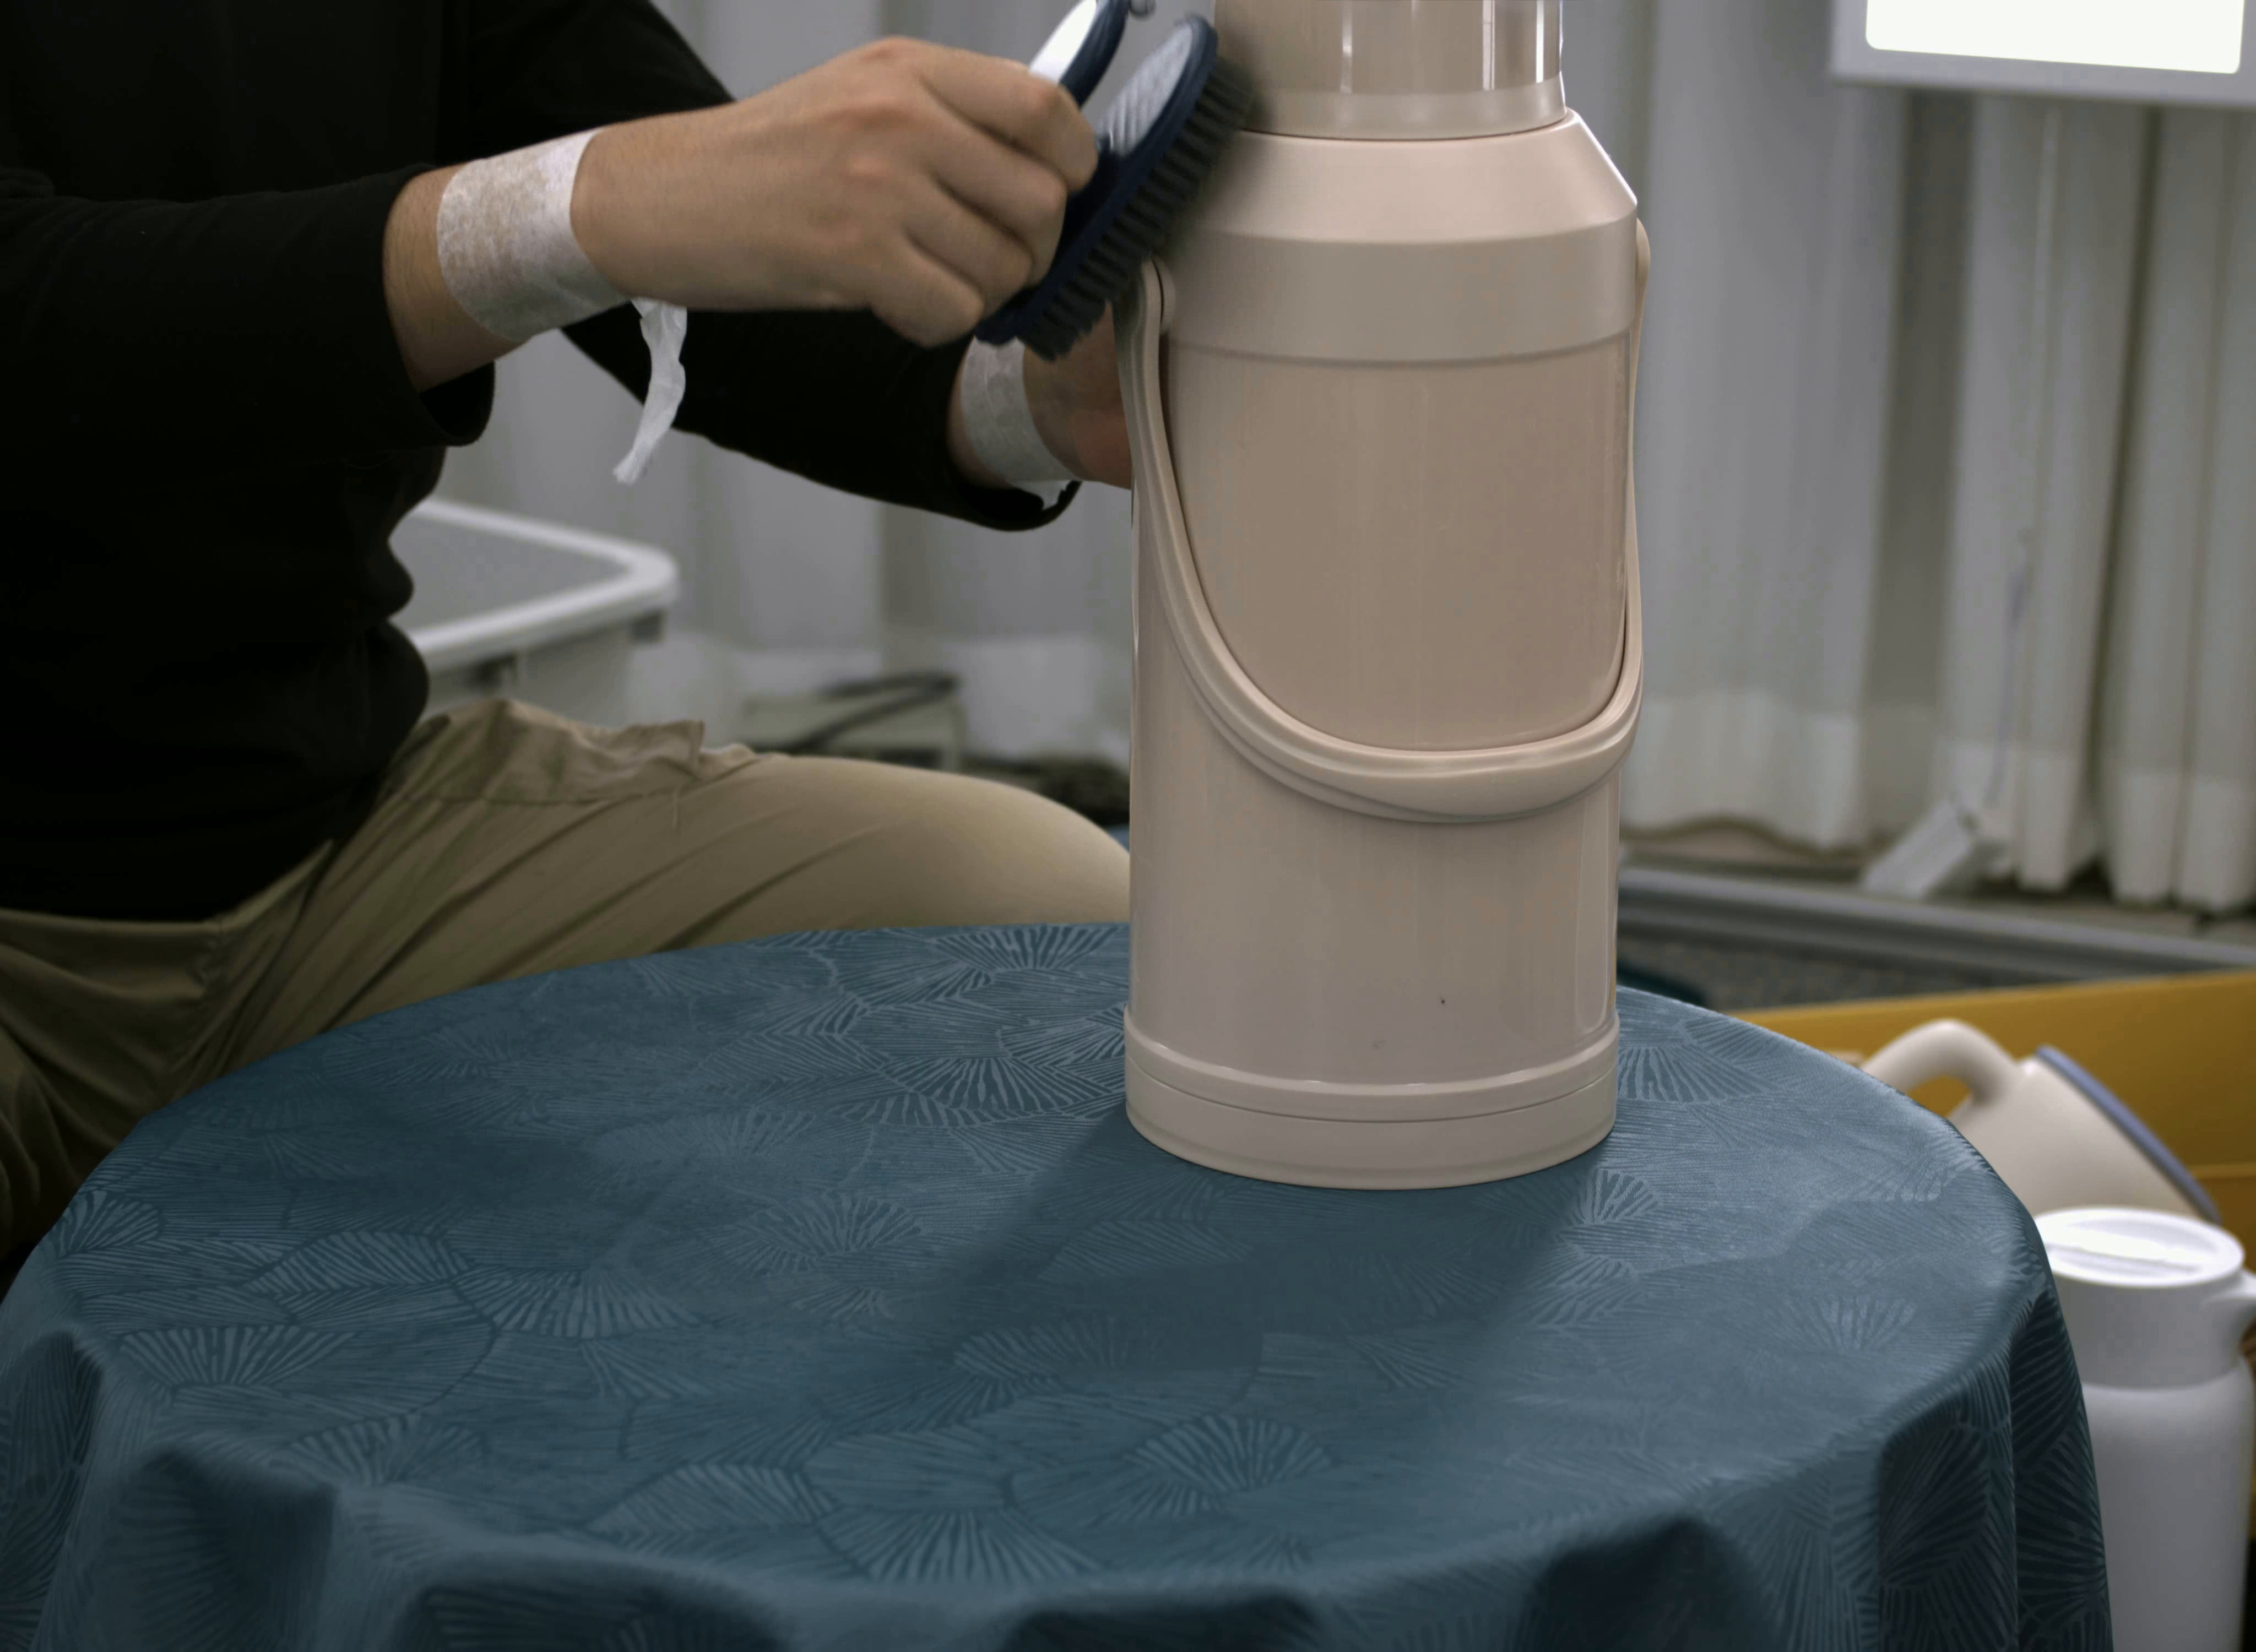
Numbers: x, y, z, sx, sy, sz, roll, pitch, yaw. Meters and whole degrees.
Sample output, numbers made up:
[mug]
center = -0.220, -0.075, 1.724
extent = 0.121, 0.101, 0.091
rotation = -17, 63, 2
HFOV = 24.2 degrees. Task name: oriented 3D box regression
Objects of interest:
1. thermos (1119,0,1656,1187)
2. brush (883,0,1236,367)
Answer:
[thermos]
center = 0.076, -0.104, 1.657
extent = 0.176, 0.410, 0.204
rotation = -9, 19, -24
[brush]
center = -0.019, -0.193, 1.577
extent = 0.061, 0.122, 0.067
rotation = 33, 26, -15
